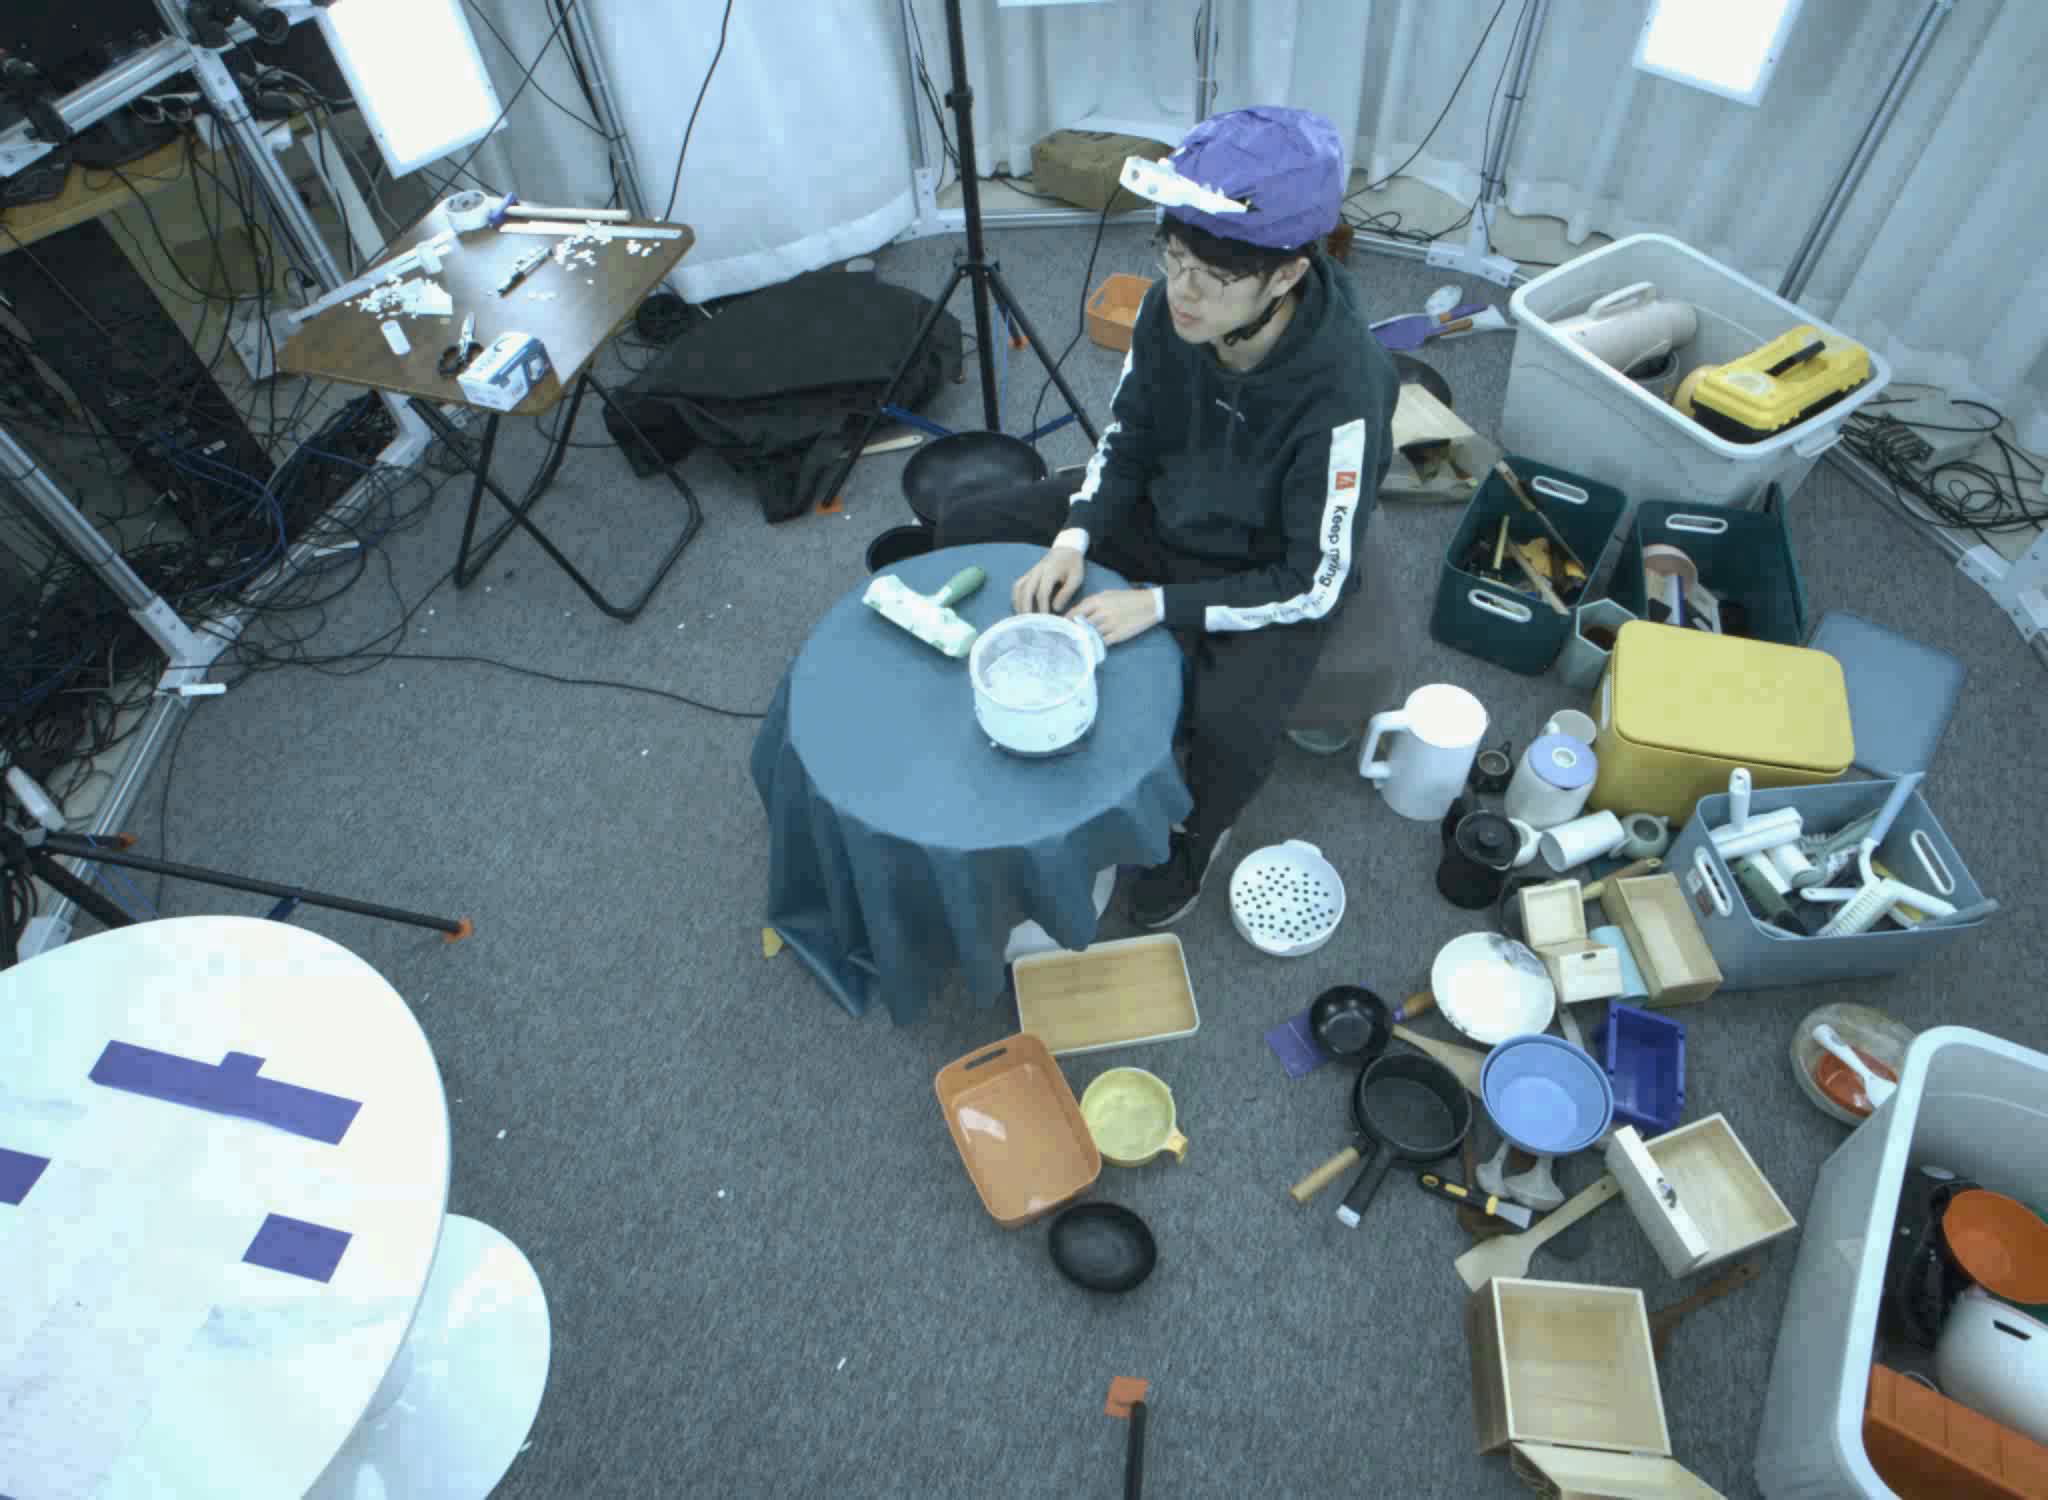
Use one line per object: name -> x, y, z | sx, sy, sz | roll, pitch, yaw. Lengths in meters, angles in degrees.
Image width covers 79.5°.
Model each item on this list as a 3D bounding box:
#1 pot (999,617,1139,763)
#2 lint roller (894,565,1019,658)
pot -> 0.077, -0.098, 1.766 | 0.175, 0.138, 0.235 | 36, 64, 25
lint roller -> -0.076, -0.248, 1.915 | 0.195, 0.083, 0.184 | 35, 68, 24
